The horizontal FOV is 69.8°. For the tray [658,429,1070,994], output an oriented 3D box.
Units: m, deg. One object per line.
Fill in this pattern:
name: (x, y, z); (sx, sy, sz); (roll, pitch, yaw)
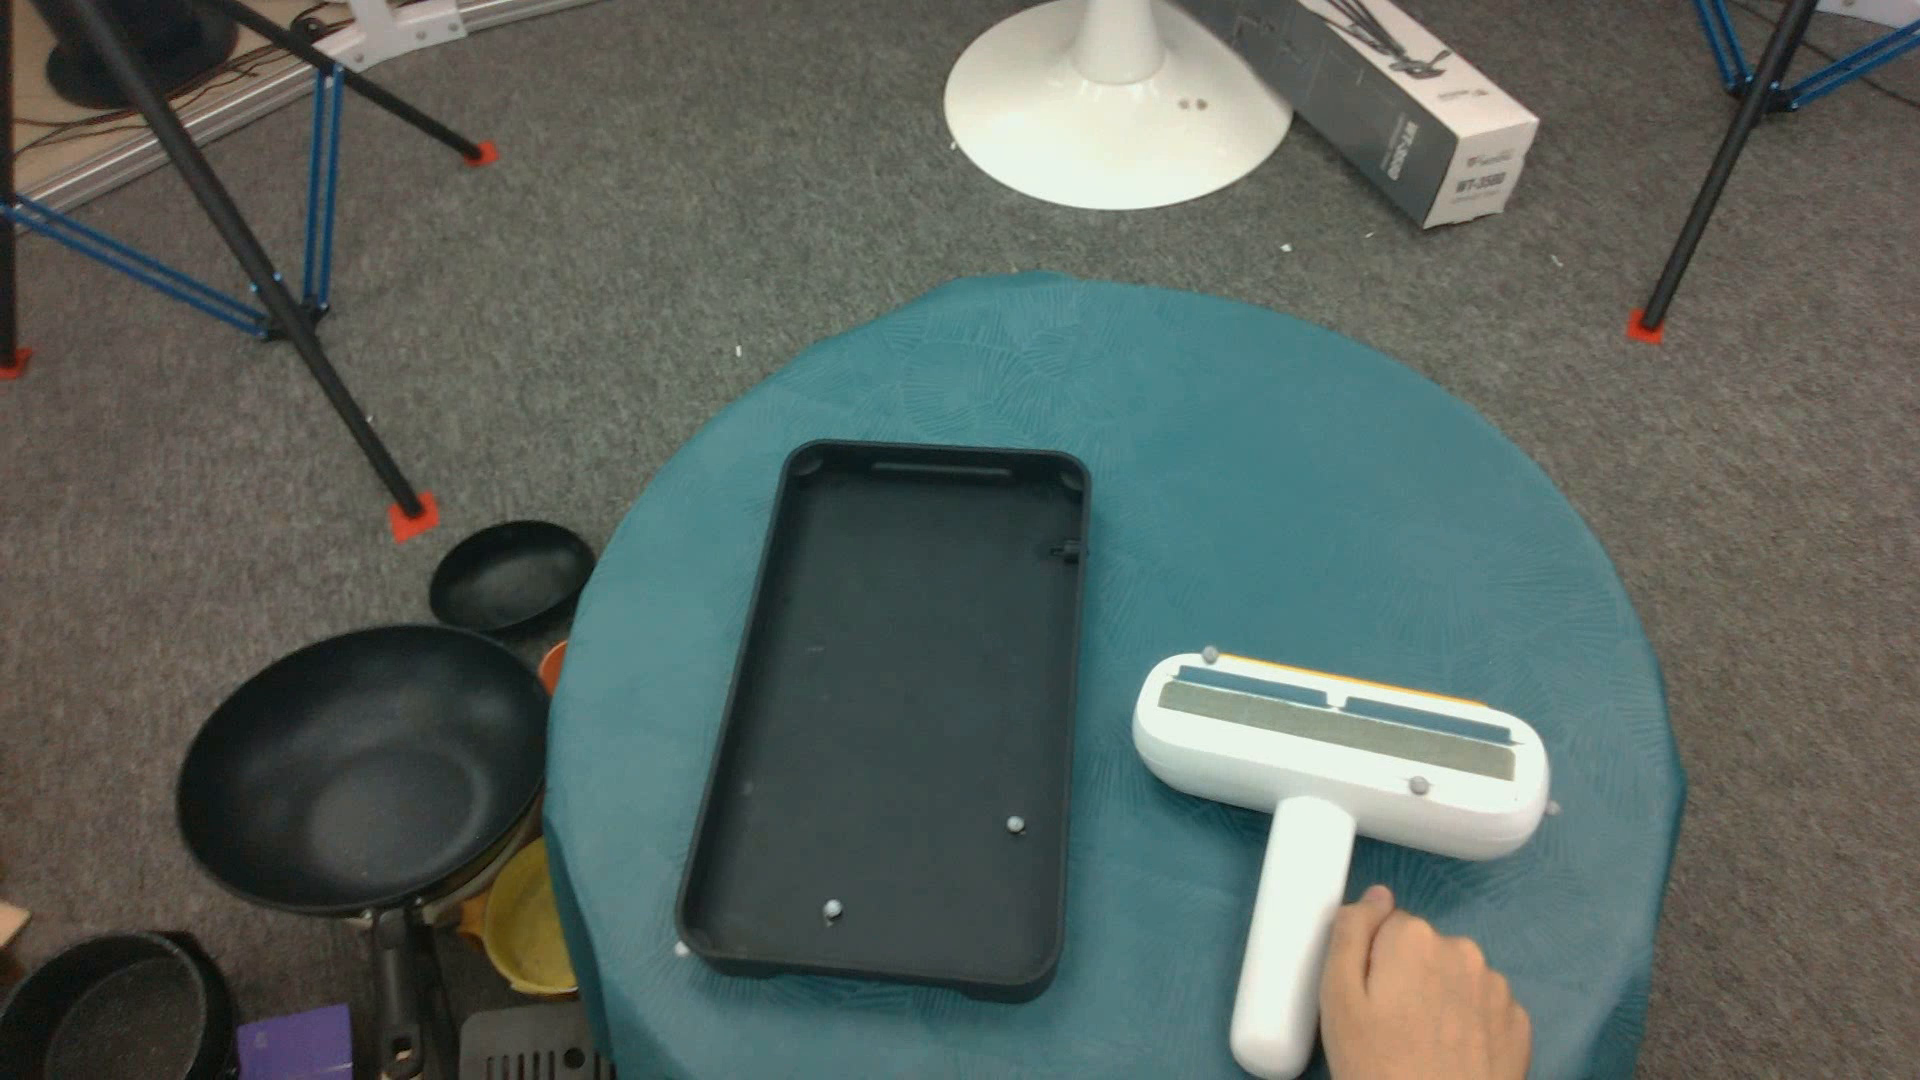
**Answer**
tray: (-0.039, 0.074, 0.728); (0.184, 0.037, 0.319); (3, 54, 4)

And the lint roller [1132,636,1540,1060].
lint roller: (0.156, 0.145, 0.648); (0.192, 0.074, 0.193); (16, 57, 20)
